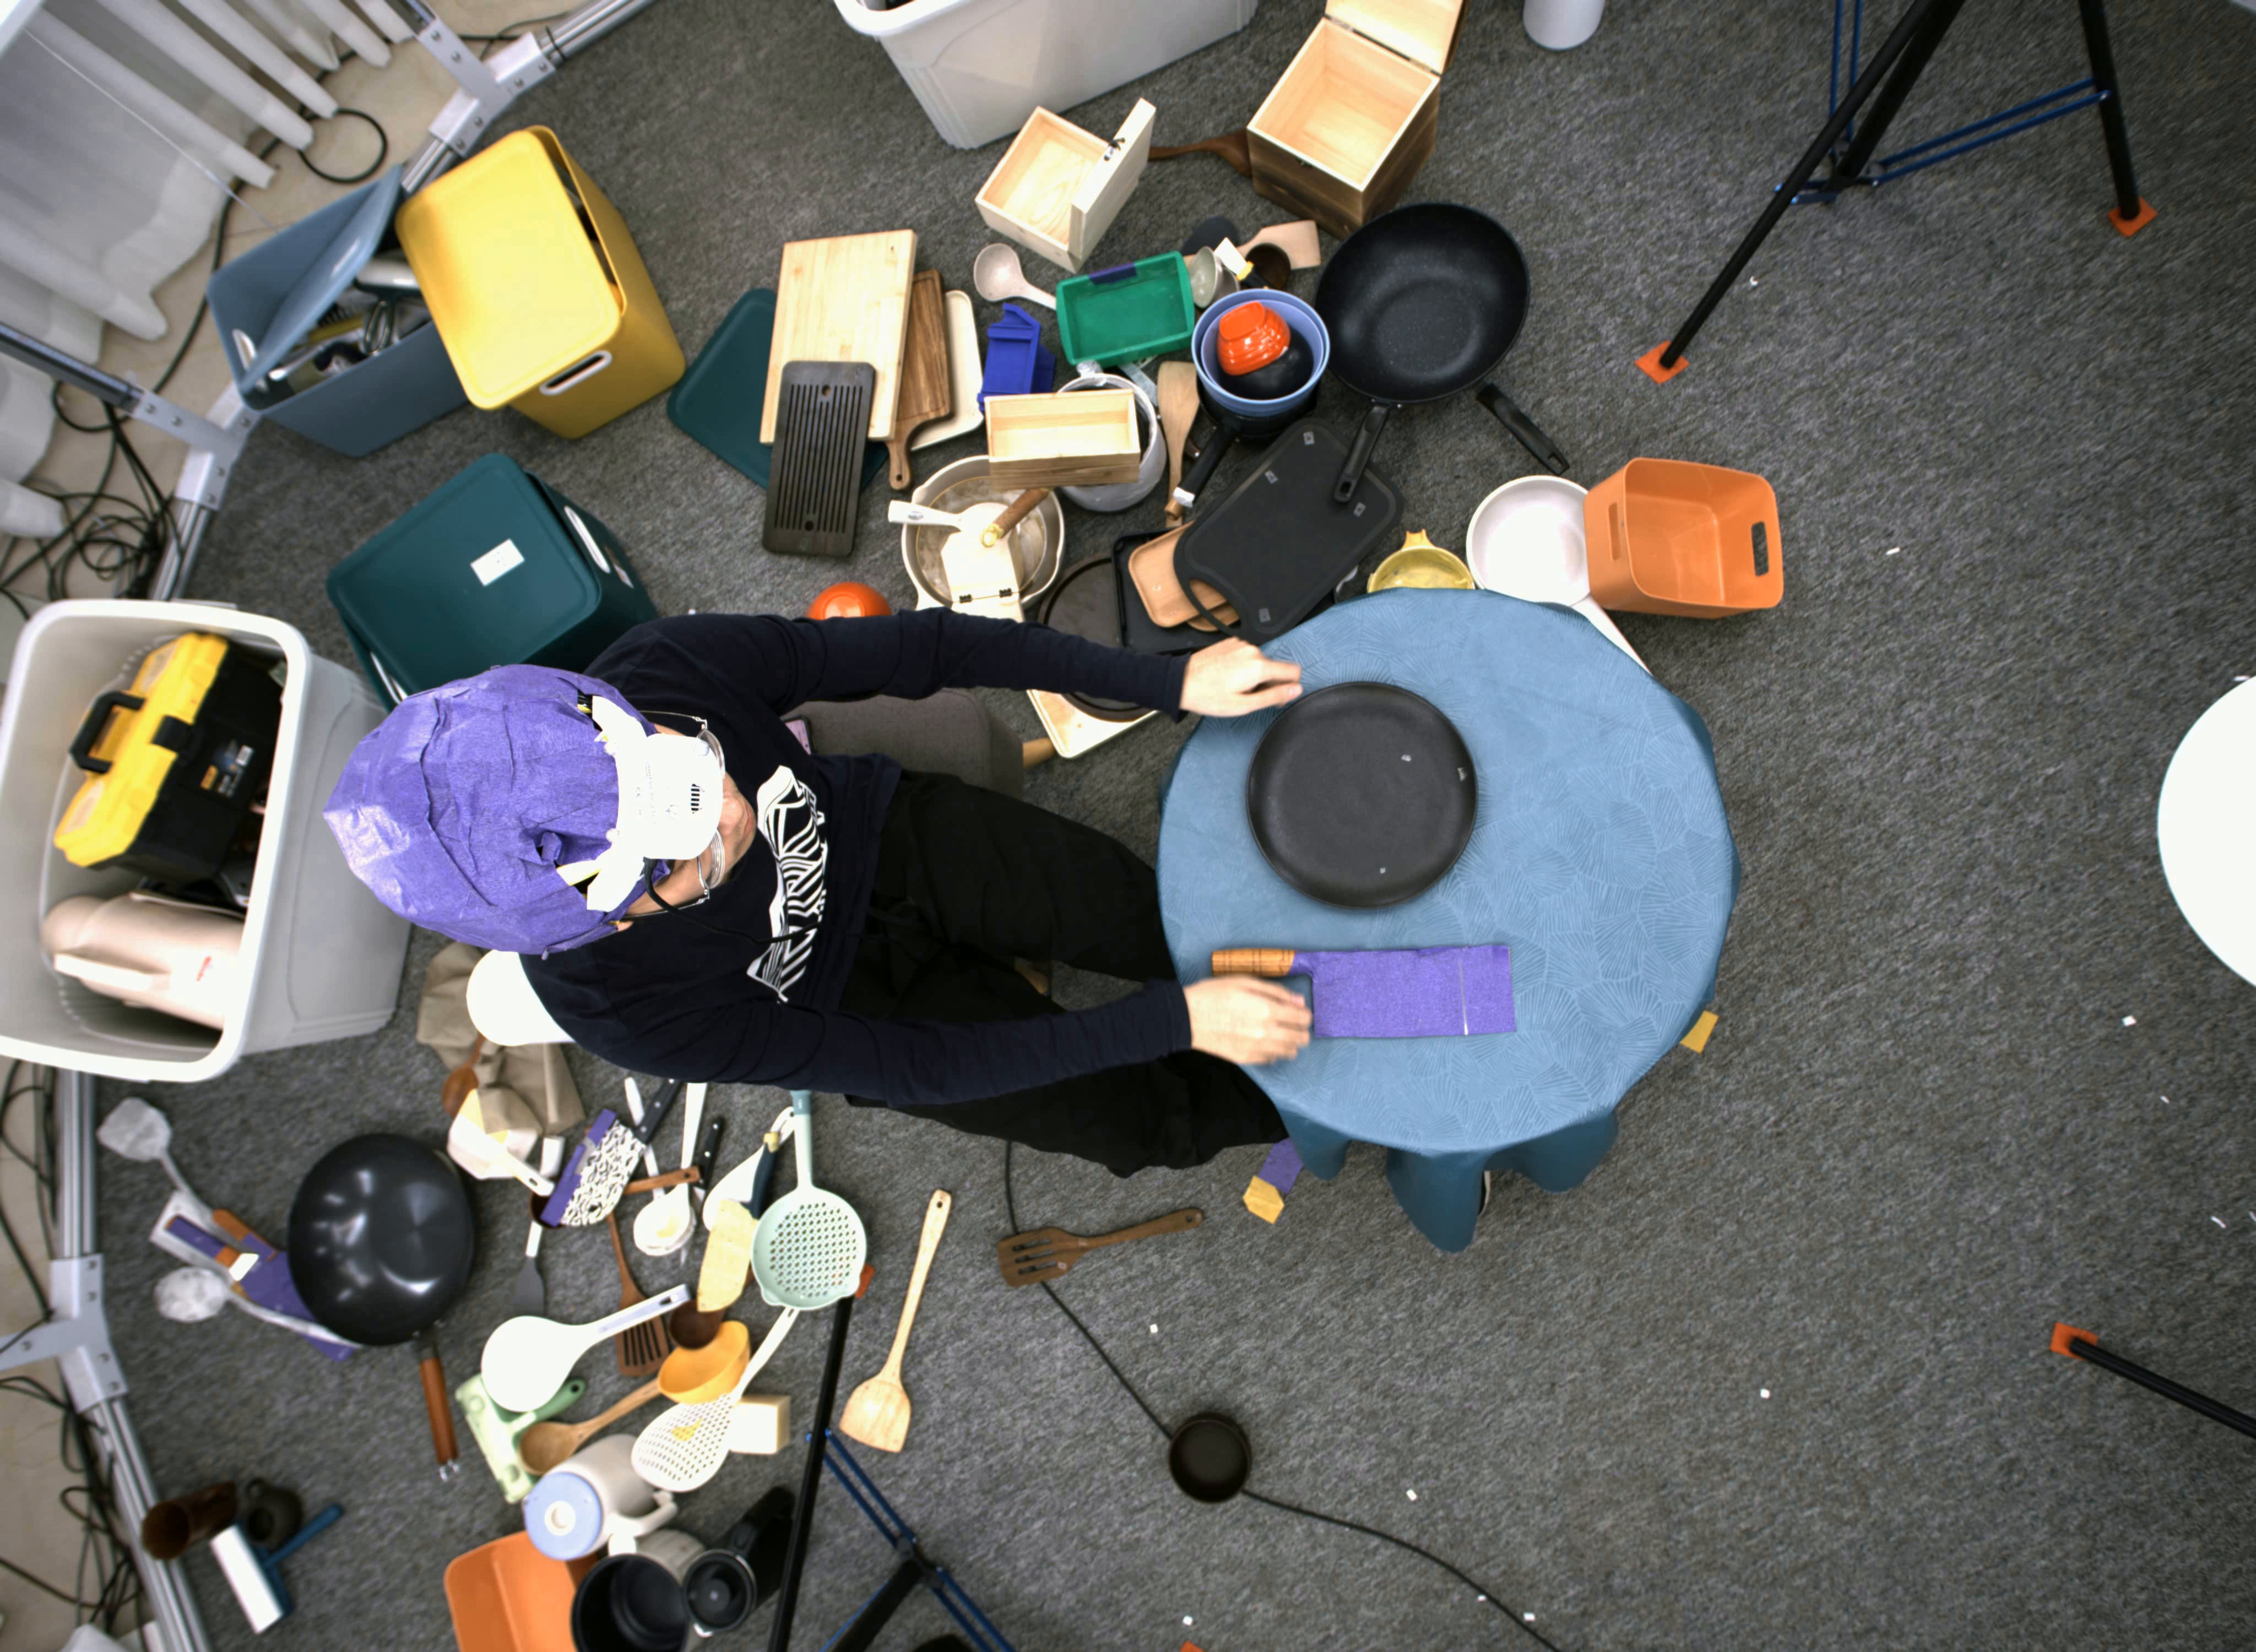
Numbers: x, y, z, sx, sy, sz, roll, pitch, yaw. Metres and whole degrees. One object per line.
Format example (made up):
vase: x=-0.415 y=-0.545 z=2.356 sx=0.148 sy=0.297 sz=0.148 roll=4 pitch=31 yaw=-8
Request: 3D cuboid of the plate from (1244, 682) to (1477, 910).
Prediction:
plate: x=0.245 y=-0.032 z=1.459 sx=0.245 sy=0.023 sz=0.243 roll=-1 pitch=86 yaw=11

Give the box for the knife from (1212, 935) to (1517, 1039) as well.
knife: x=0.246 y=0.171 z=1.446 sx=0.316 sy=0.032 sz=0.103 roll=-4 pitch=86 yaw=10
